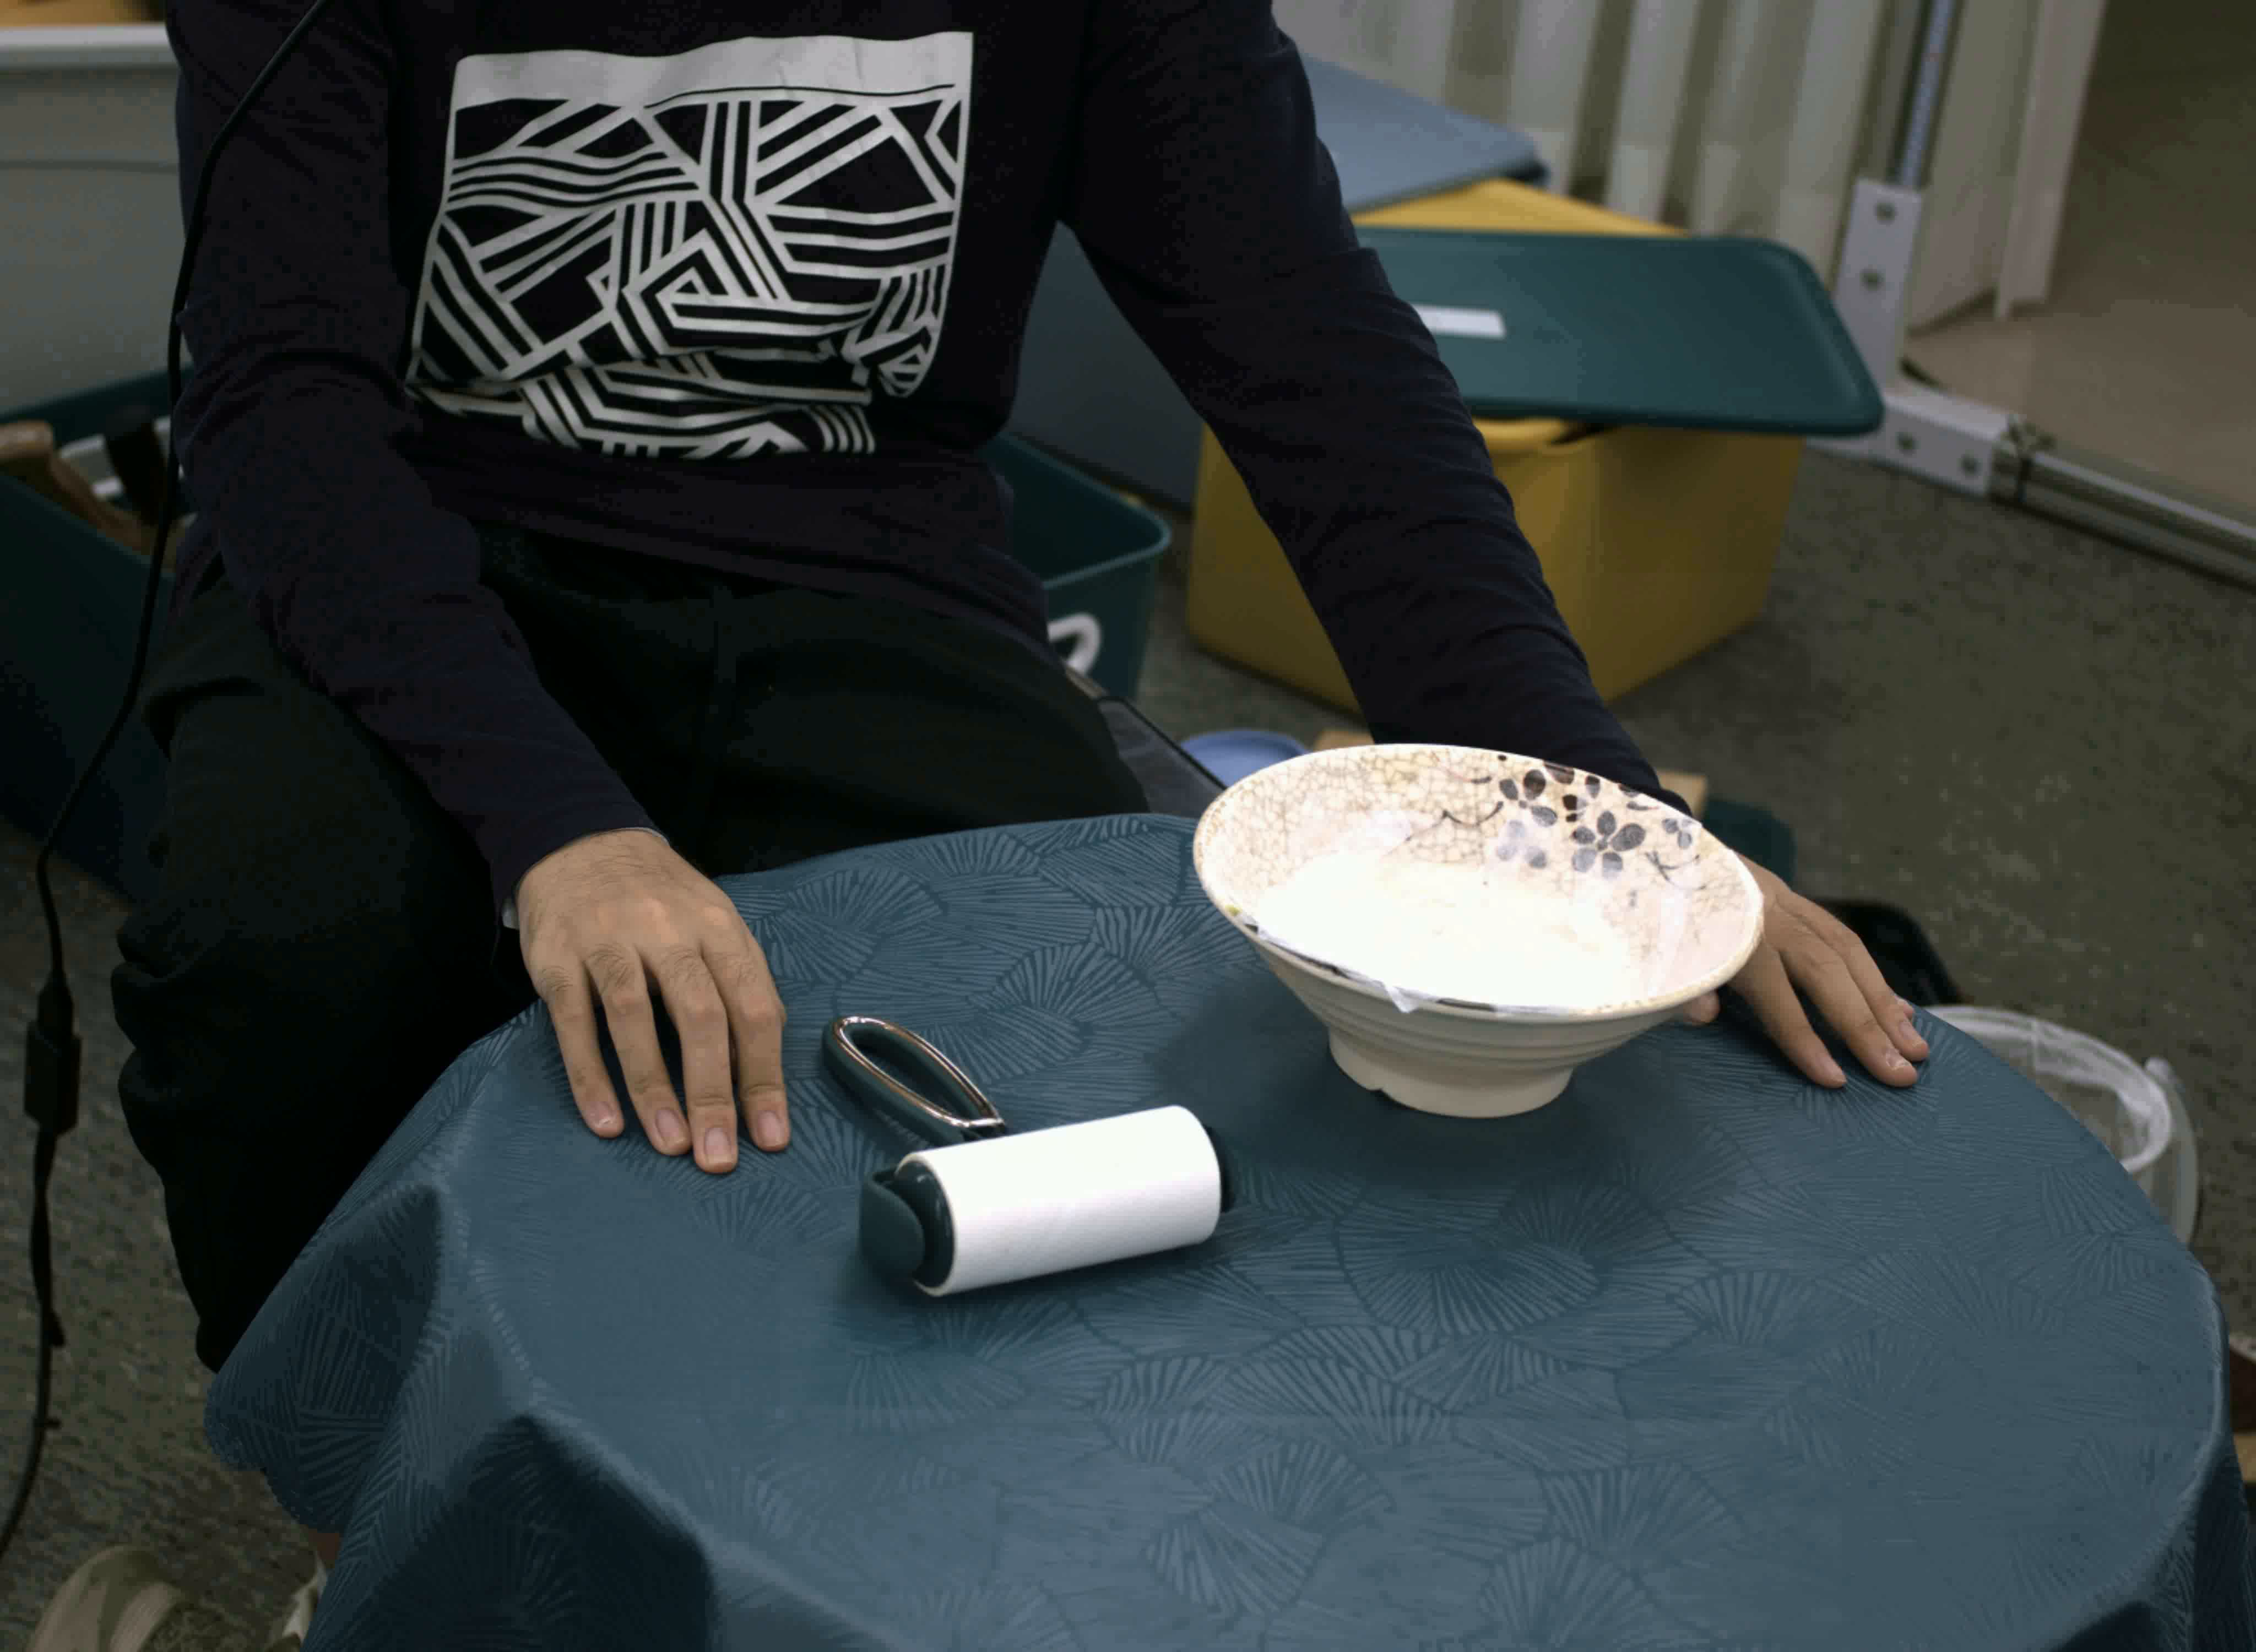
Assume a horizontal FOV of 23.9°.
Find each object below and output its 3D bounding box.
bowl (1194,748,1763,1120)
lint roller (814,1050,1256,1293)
[{"bbox_3d":[0.120,0.050,1.893,0.203,0.078,0.205,6,25,-3],"label":"bowl"},{"bbox_3d":[-0.057,0.097,1.803,0.133,0.048,0.181,-9,27,-28],"label":"lint roller"}]
